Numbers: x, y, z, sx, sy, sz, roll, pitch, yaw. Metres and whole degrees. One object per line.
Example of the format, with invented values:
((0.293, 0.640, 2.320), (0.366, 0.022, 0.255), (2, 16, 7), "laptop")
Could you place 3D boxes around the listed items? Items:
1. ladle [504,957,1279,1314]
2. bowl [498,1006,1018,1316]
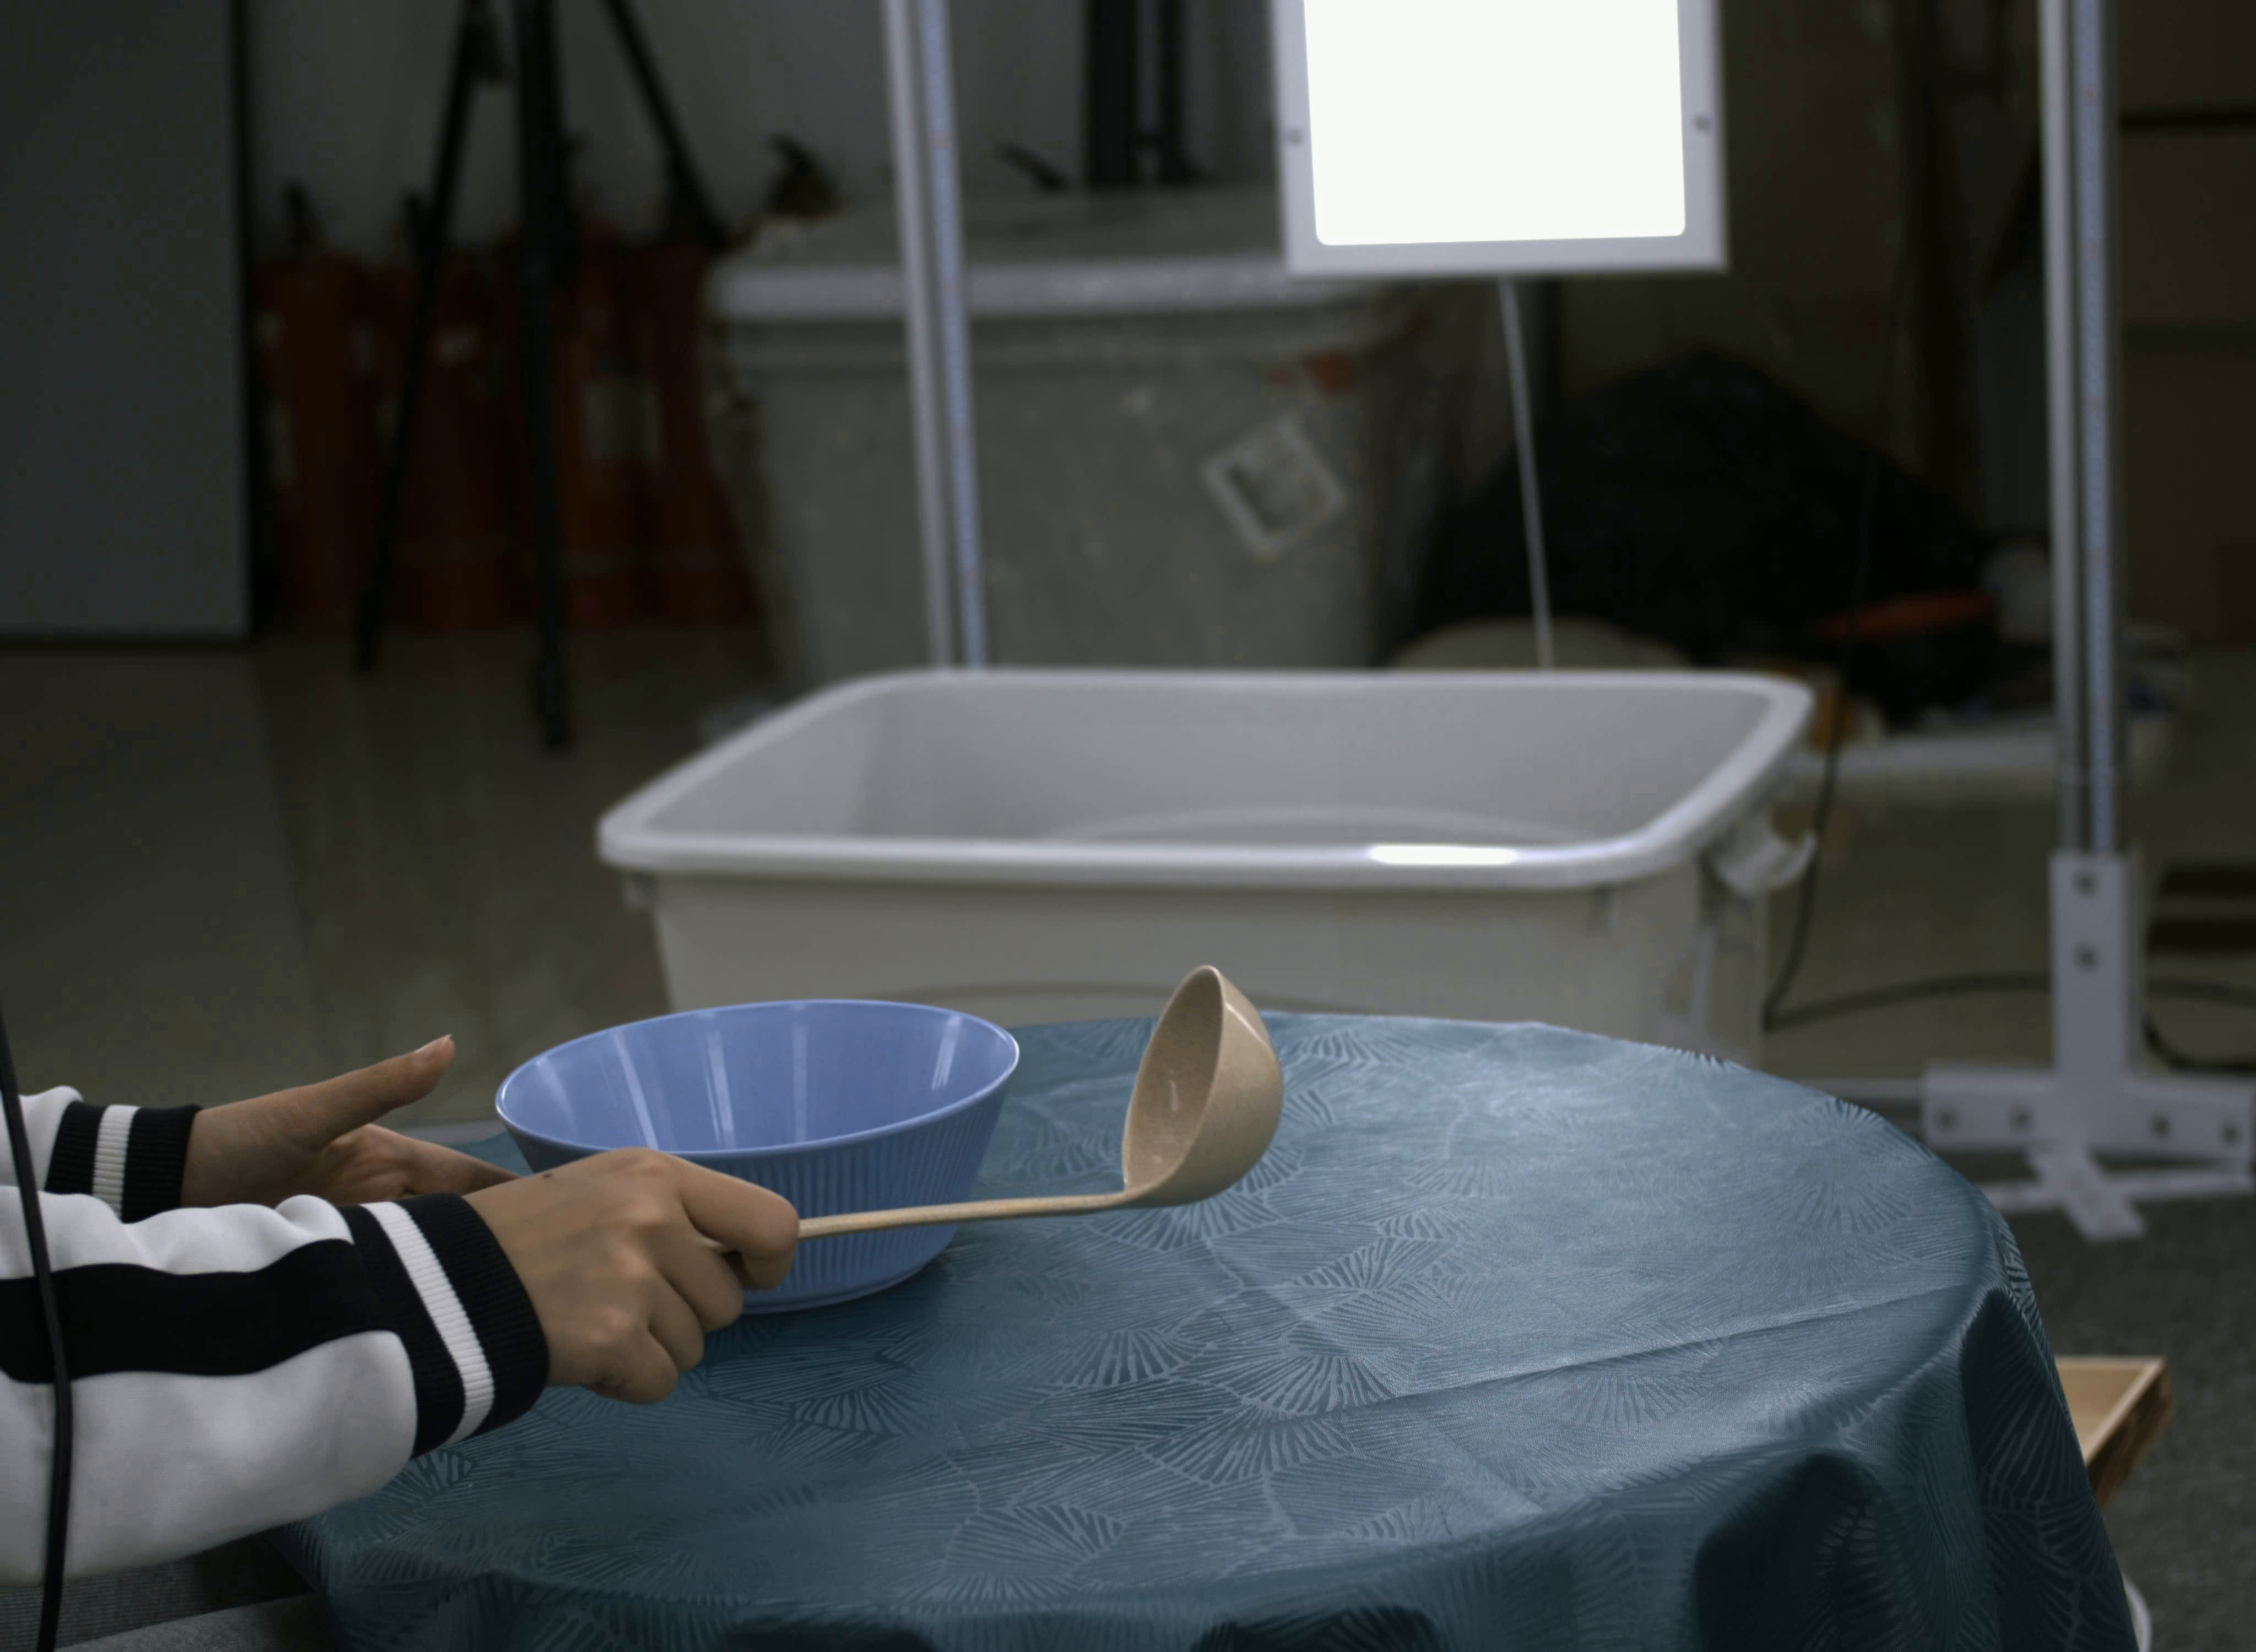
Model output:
((-0.074, 0.090, 1.643), (0.249, 0.073, 0.073), (-8, -11, -24), "ladle")
((-0.121, 0.114, 1.845), (0.175, 0.070, 0.176), (-5, 13, 0), "bowl")
